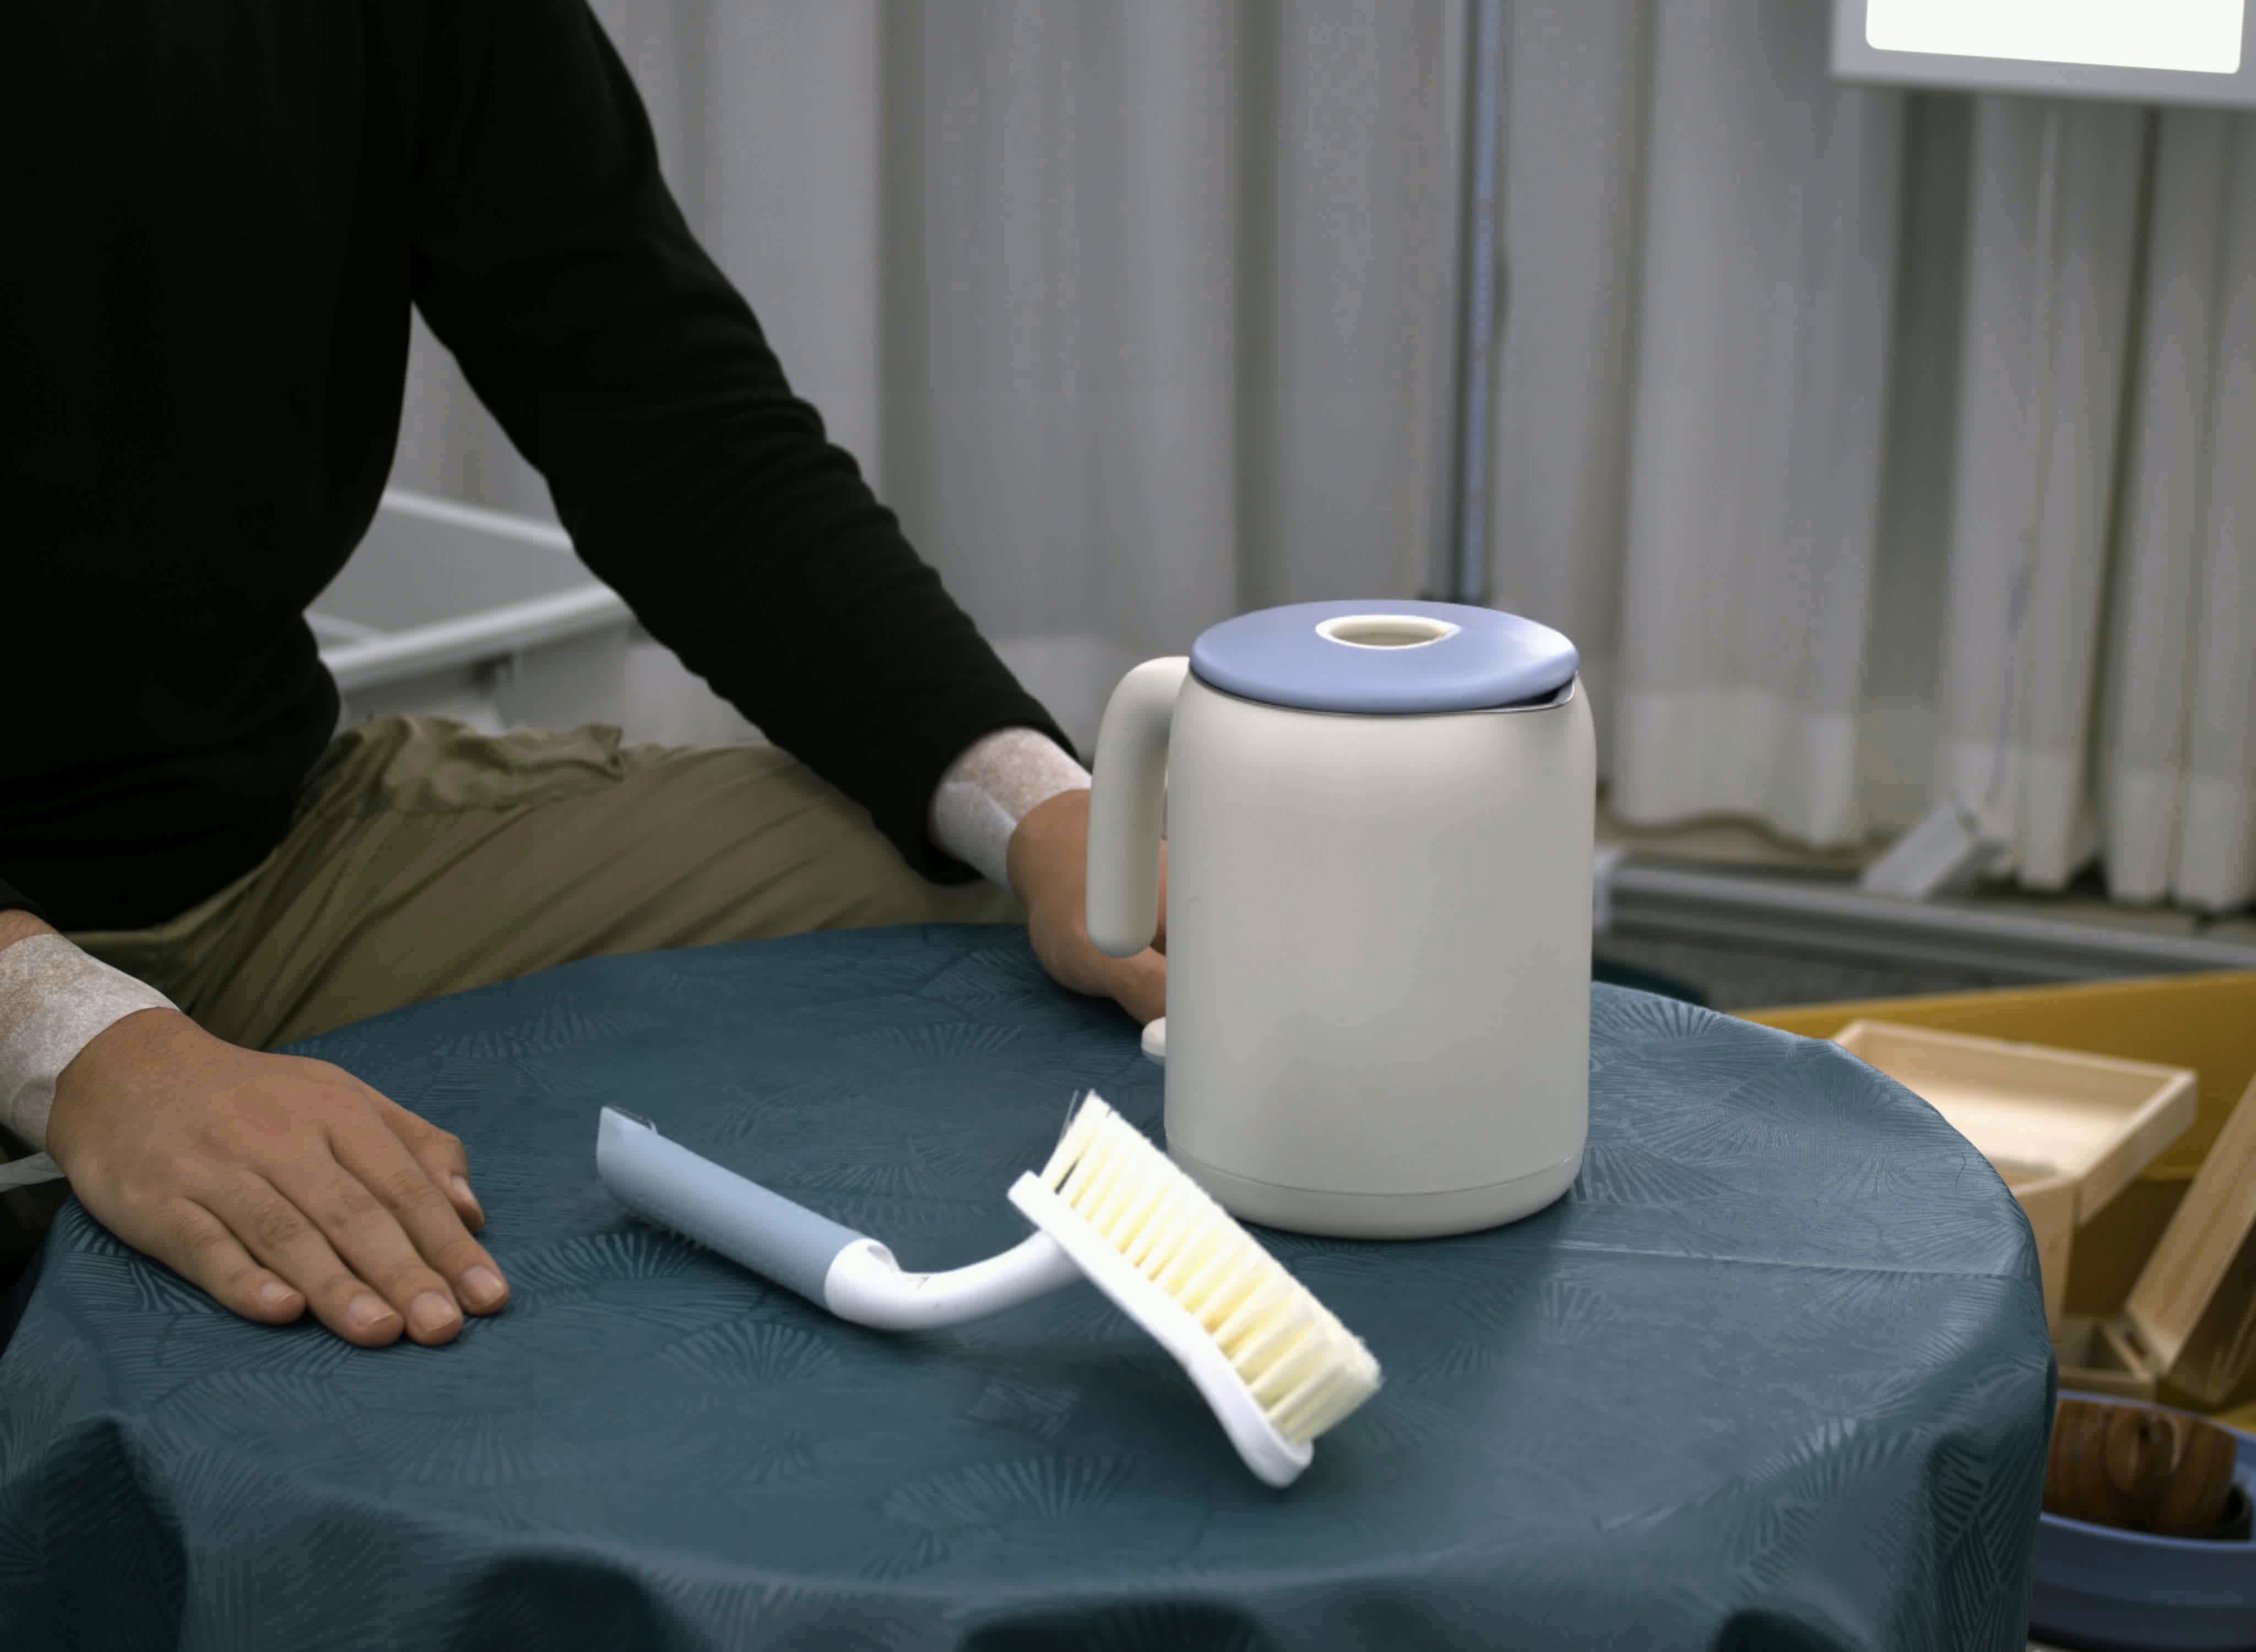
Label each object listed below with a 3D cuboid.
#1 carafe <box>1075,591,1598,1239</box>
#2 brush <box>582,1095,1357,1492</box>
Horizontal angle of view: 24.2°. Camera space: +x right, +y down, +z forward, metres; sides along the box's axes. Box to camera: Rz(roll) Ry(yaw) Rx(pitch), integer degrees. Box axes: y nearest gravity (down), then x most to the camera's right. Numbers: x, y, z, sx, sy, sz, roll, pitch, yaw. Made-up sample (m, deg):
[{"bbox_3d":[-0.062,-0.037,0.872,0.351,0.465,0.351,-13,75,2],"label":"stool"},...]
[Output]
[{"bbox_3d":[0.059,0.022,1.626,0.188,0.184,0.133,12,19,39],"label":"carafe"},{"bbox_3d":[-0.045,0.103,1.501,0.085,0.084,0.321,-19,25,-35],"label":"brush"}]
